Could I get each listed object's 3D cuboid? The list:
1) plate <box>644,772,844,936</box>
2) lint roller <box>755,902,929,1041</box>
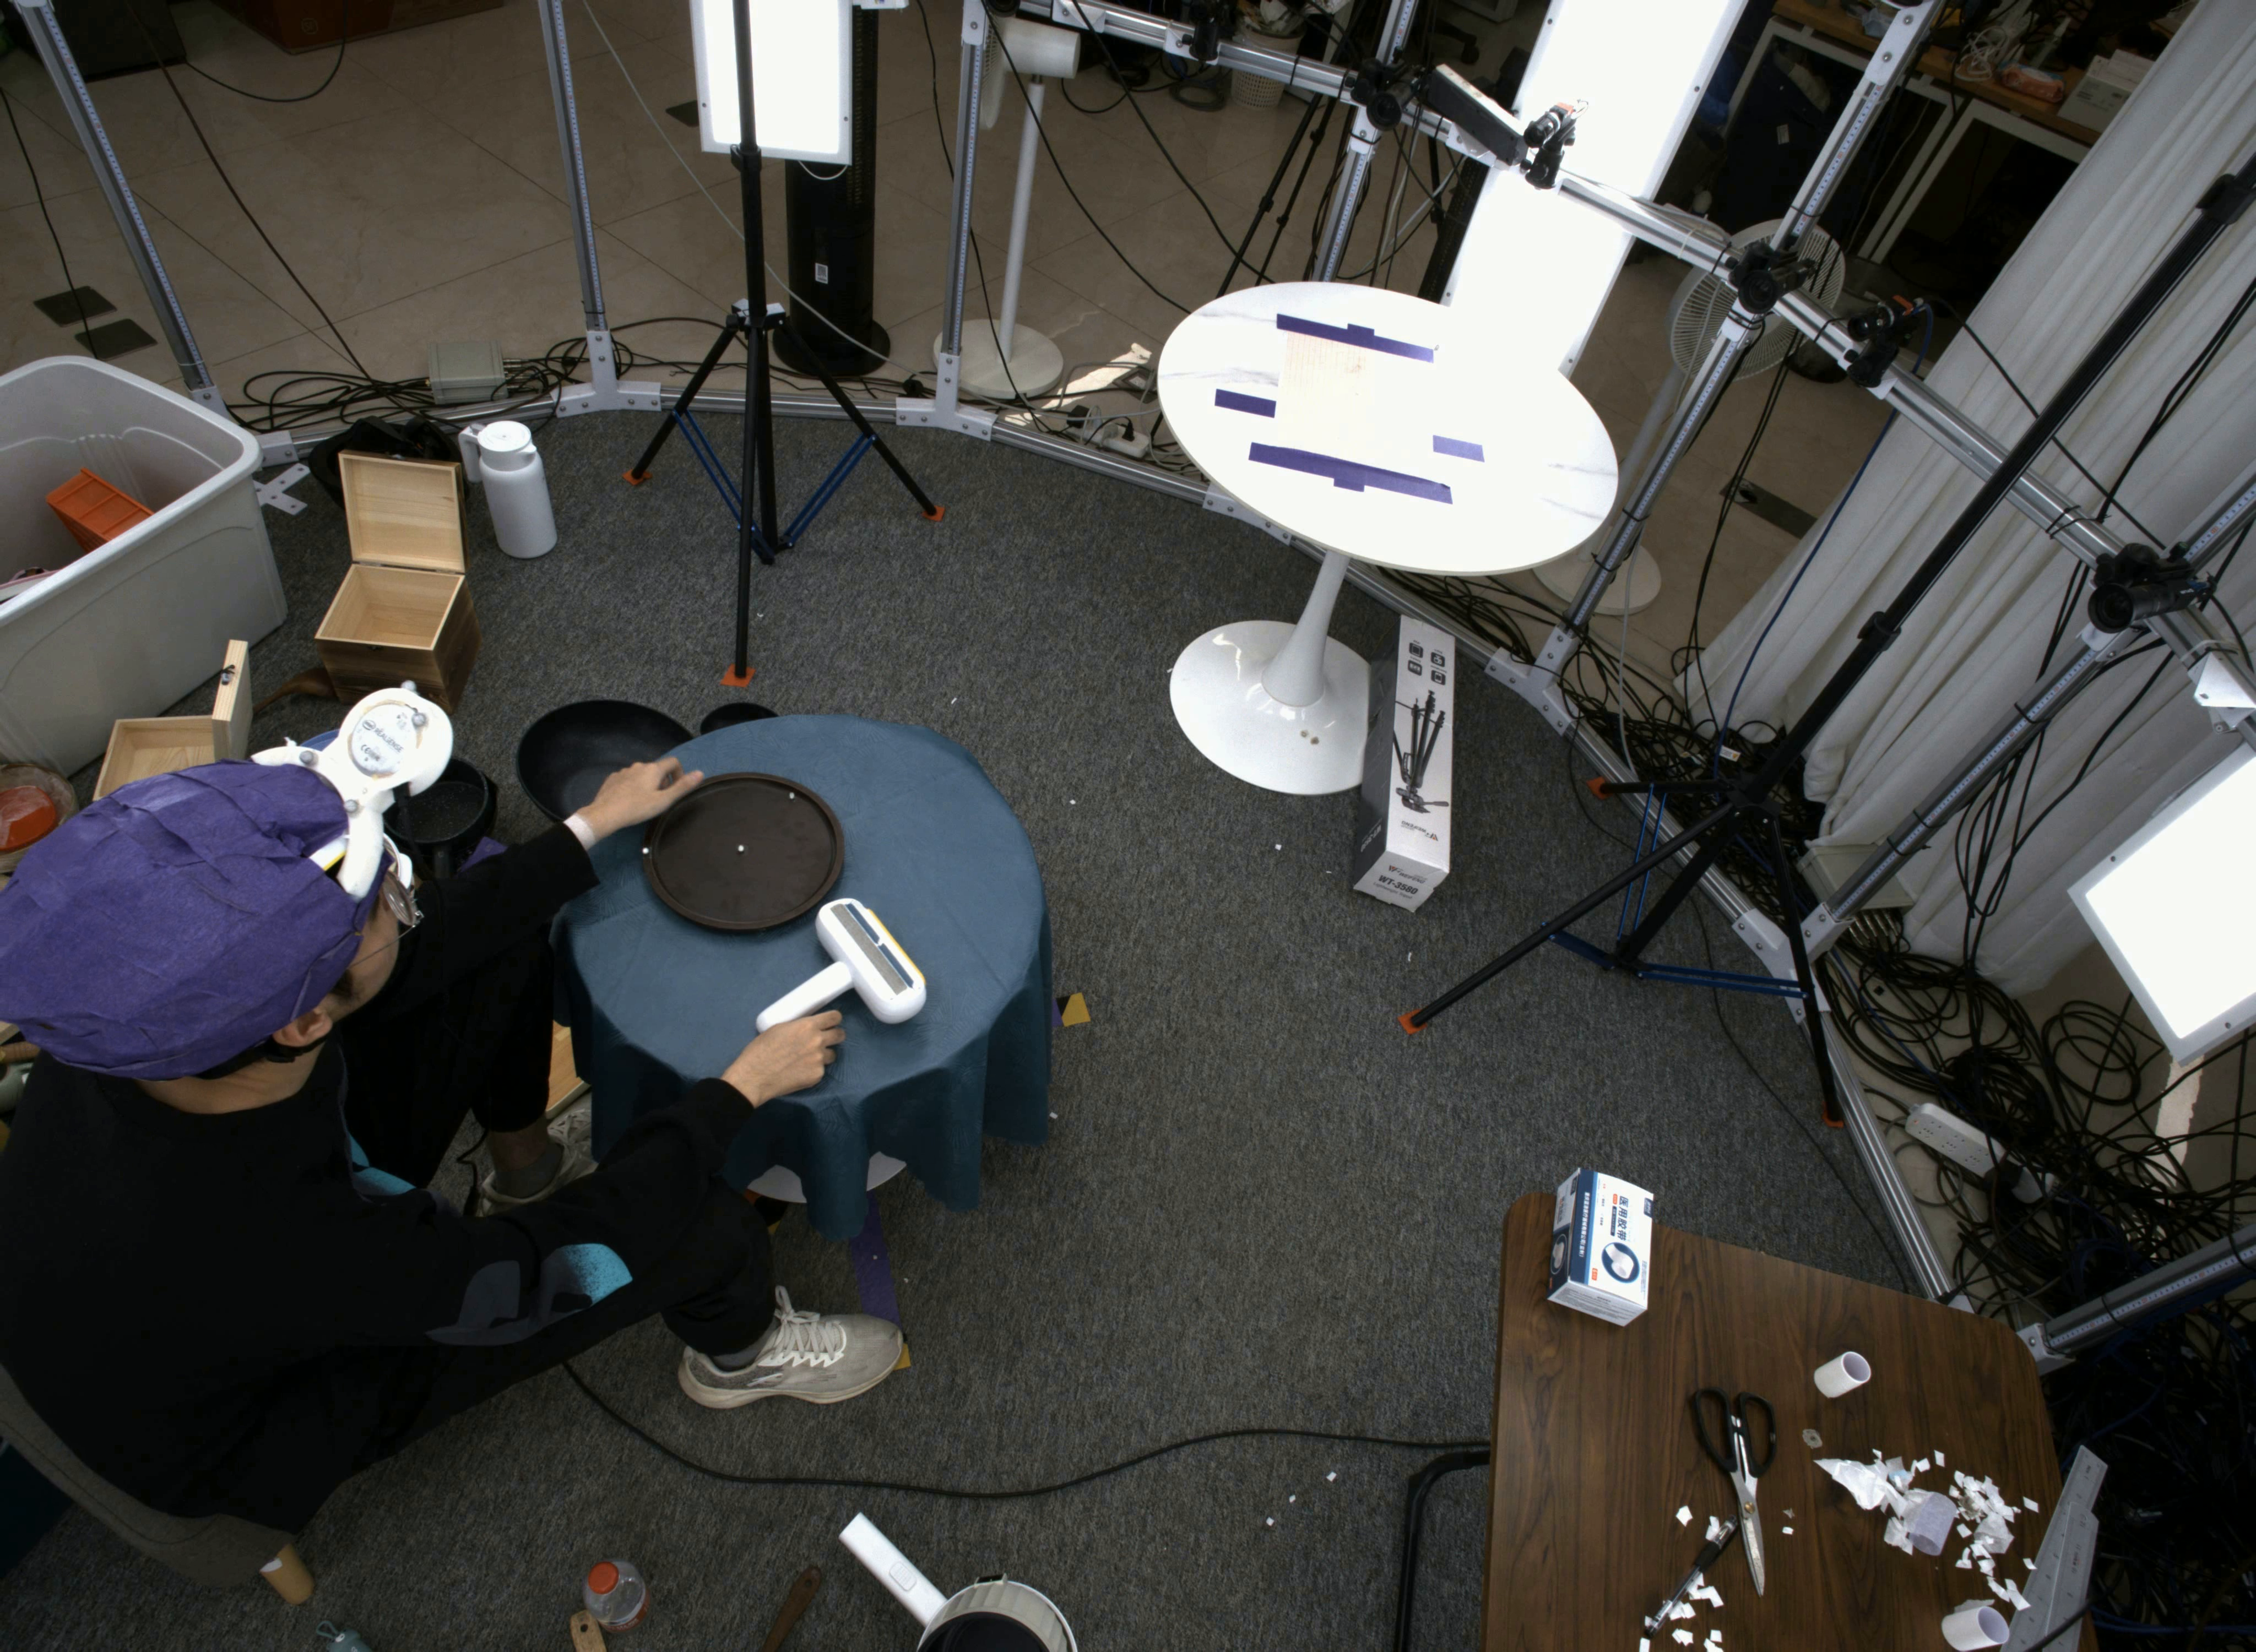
[{"bbox_3d":[-0.495,0.033,1.672,0.254,0.029,0.250,7,54,-8],"label":"plate"},{"bbox_3d":[-0.360,0.191,1.562,0.193,0.076,0.187,-23,57,-26],"label":"lint roller"}]
